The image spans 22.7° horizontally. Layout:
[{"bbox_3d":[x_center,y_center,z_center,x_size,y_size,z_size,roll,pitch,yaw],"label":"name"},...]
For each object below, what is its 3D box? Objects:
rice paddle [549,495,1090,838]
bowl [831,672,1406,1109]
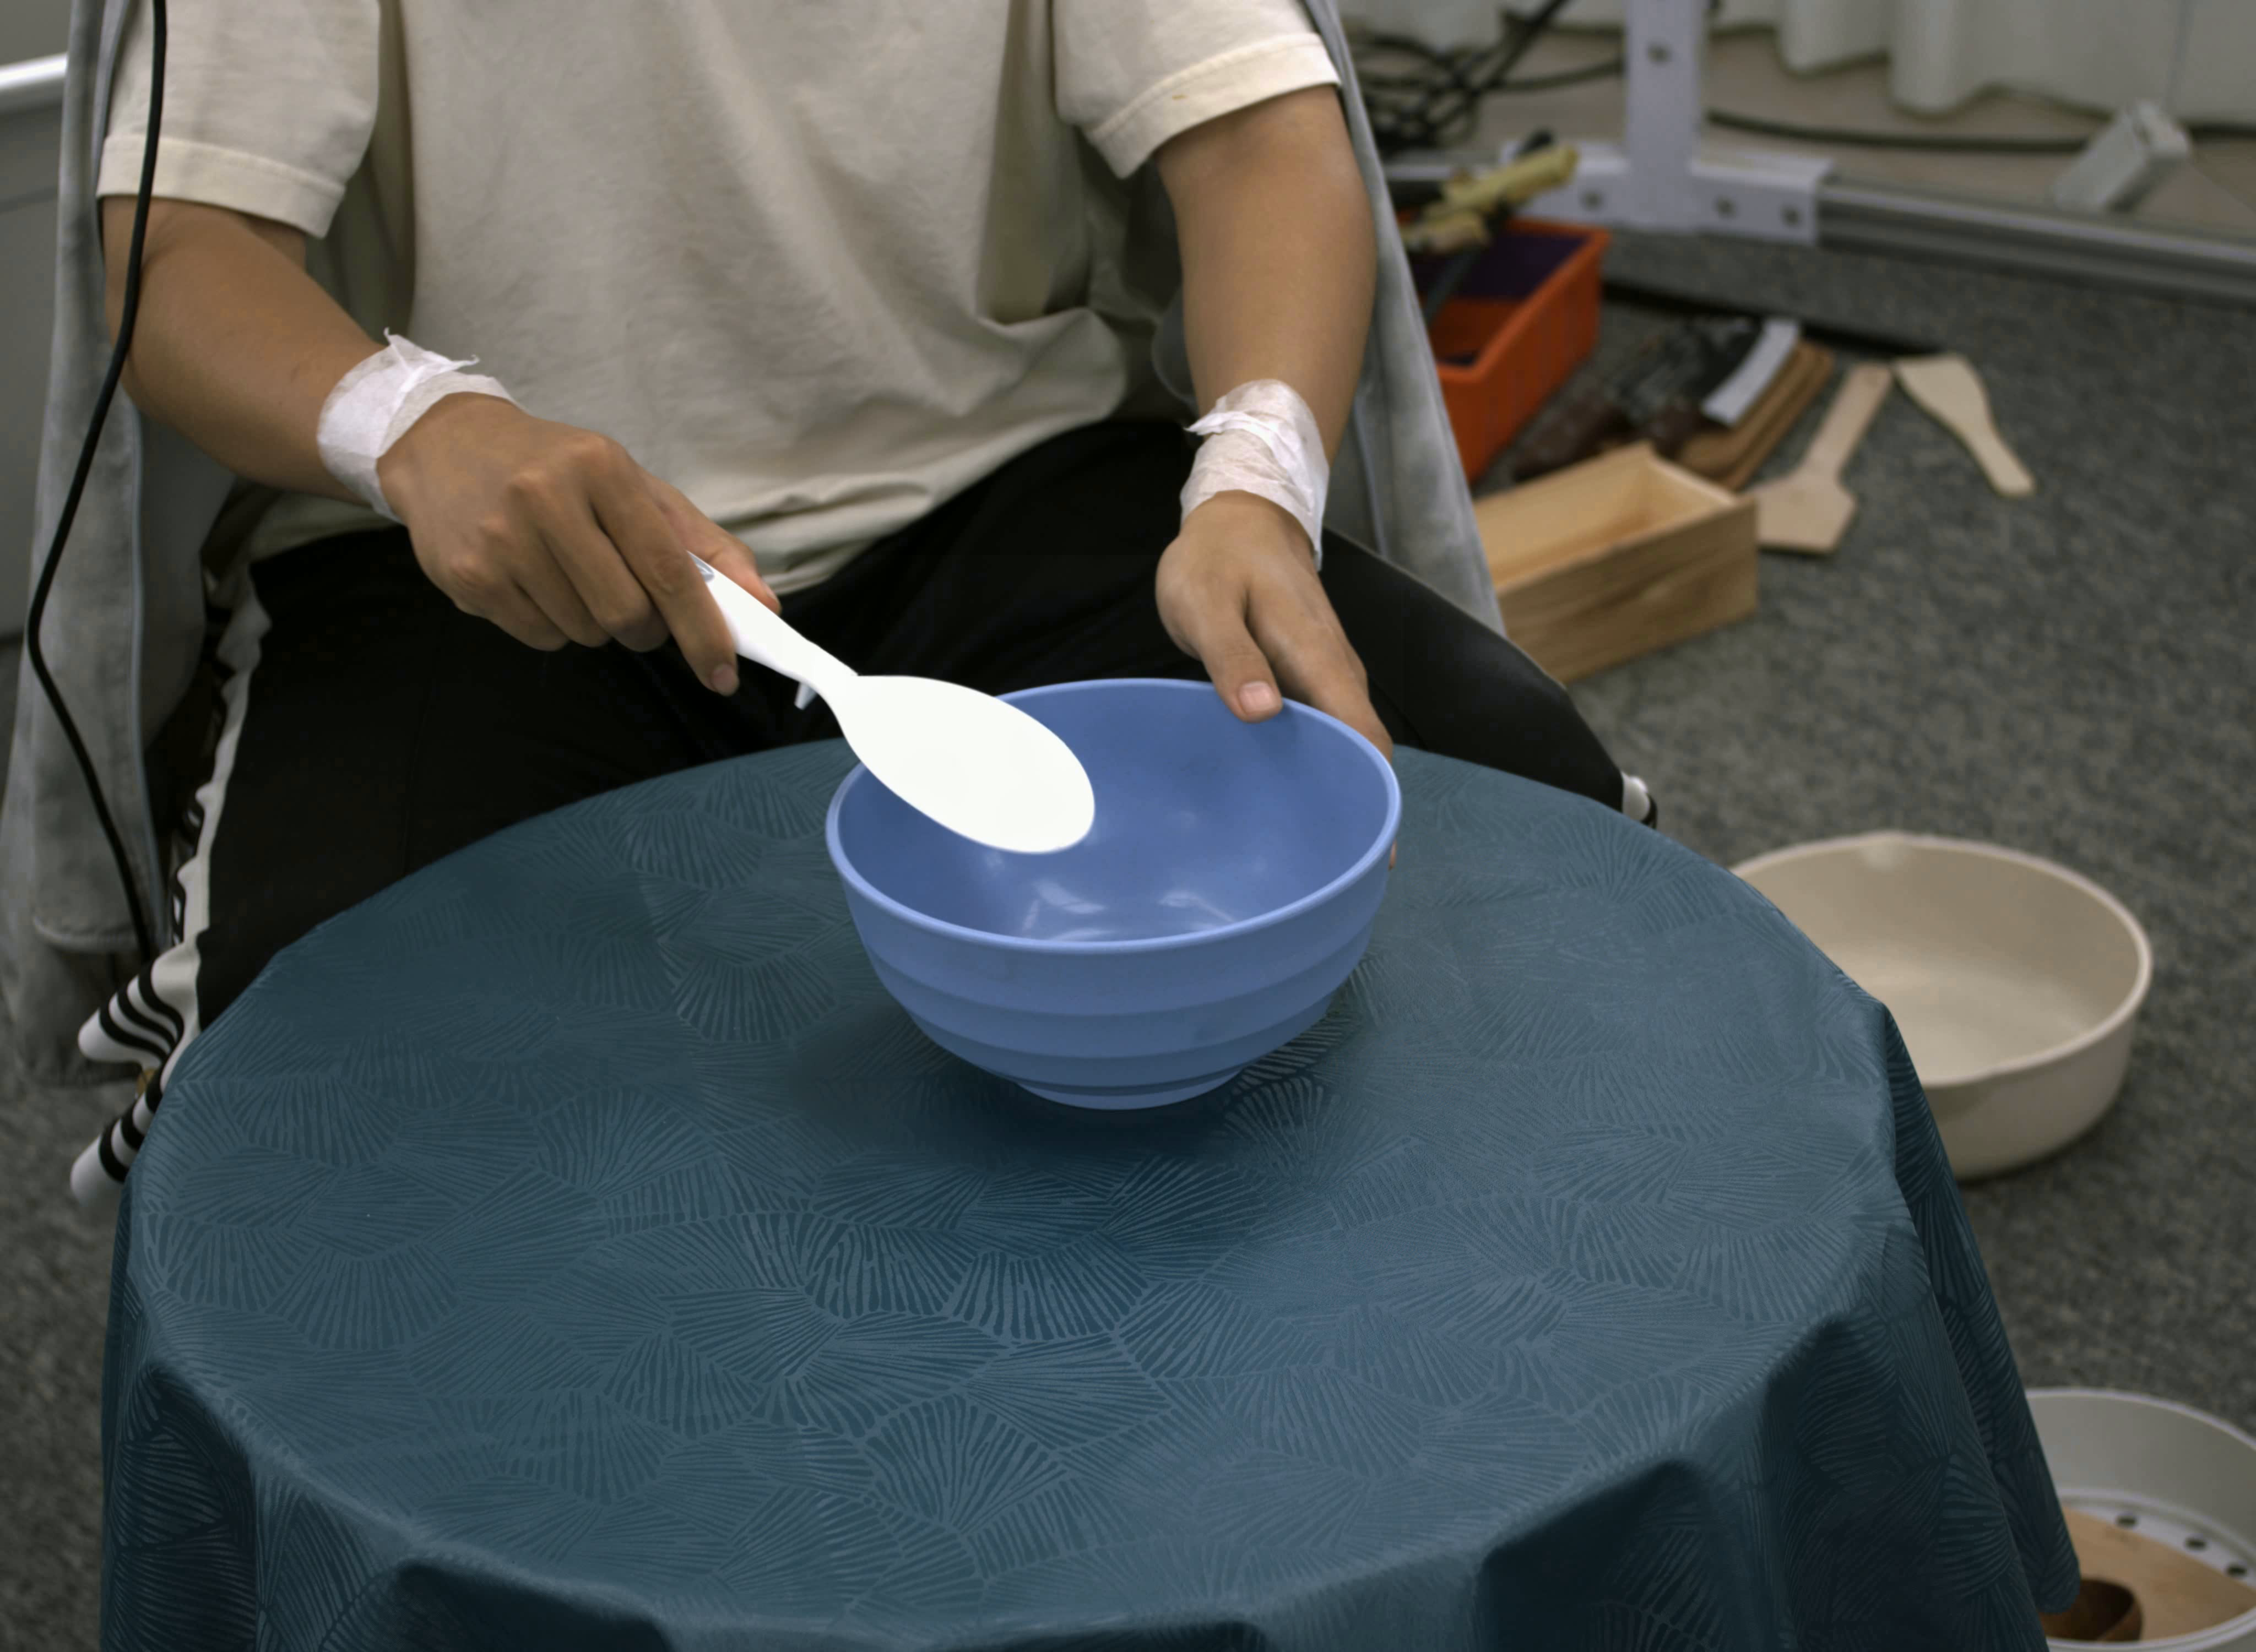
[{"bbox_3d":[-0.103,-0.053,1.922,0.205,0.029,0.070,29,42,10],"label":"rice paddle"},{"bbox_3d":[-0.001,0.033,1.928,0.195,0.094,0.199,-3,29,2],"label":"bowl"}]
